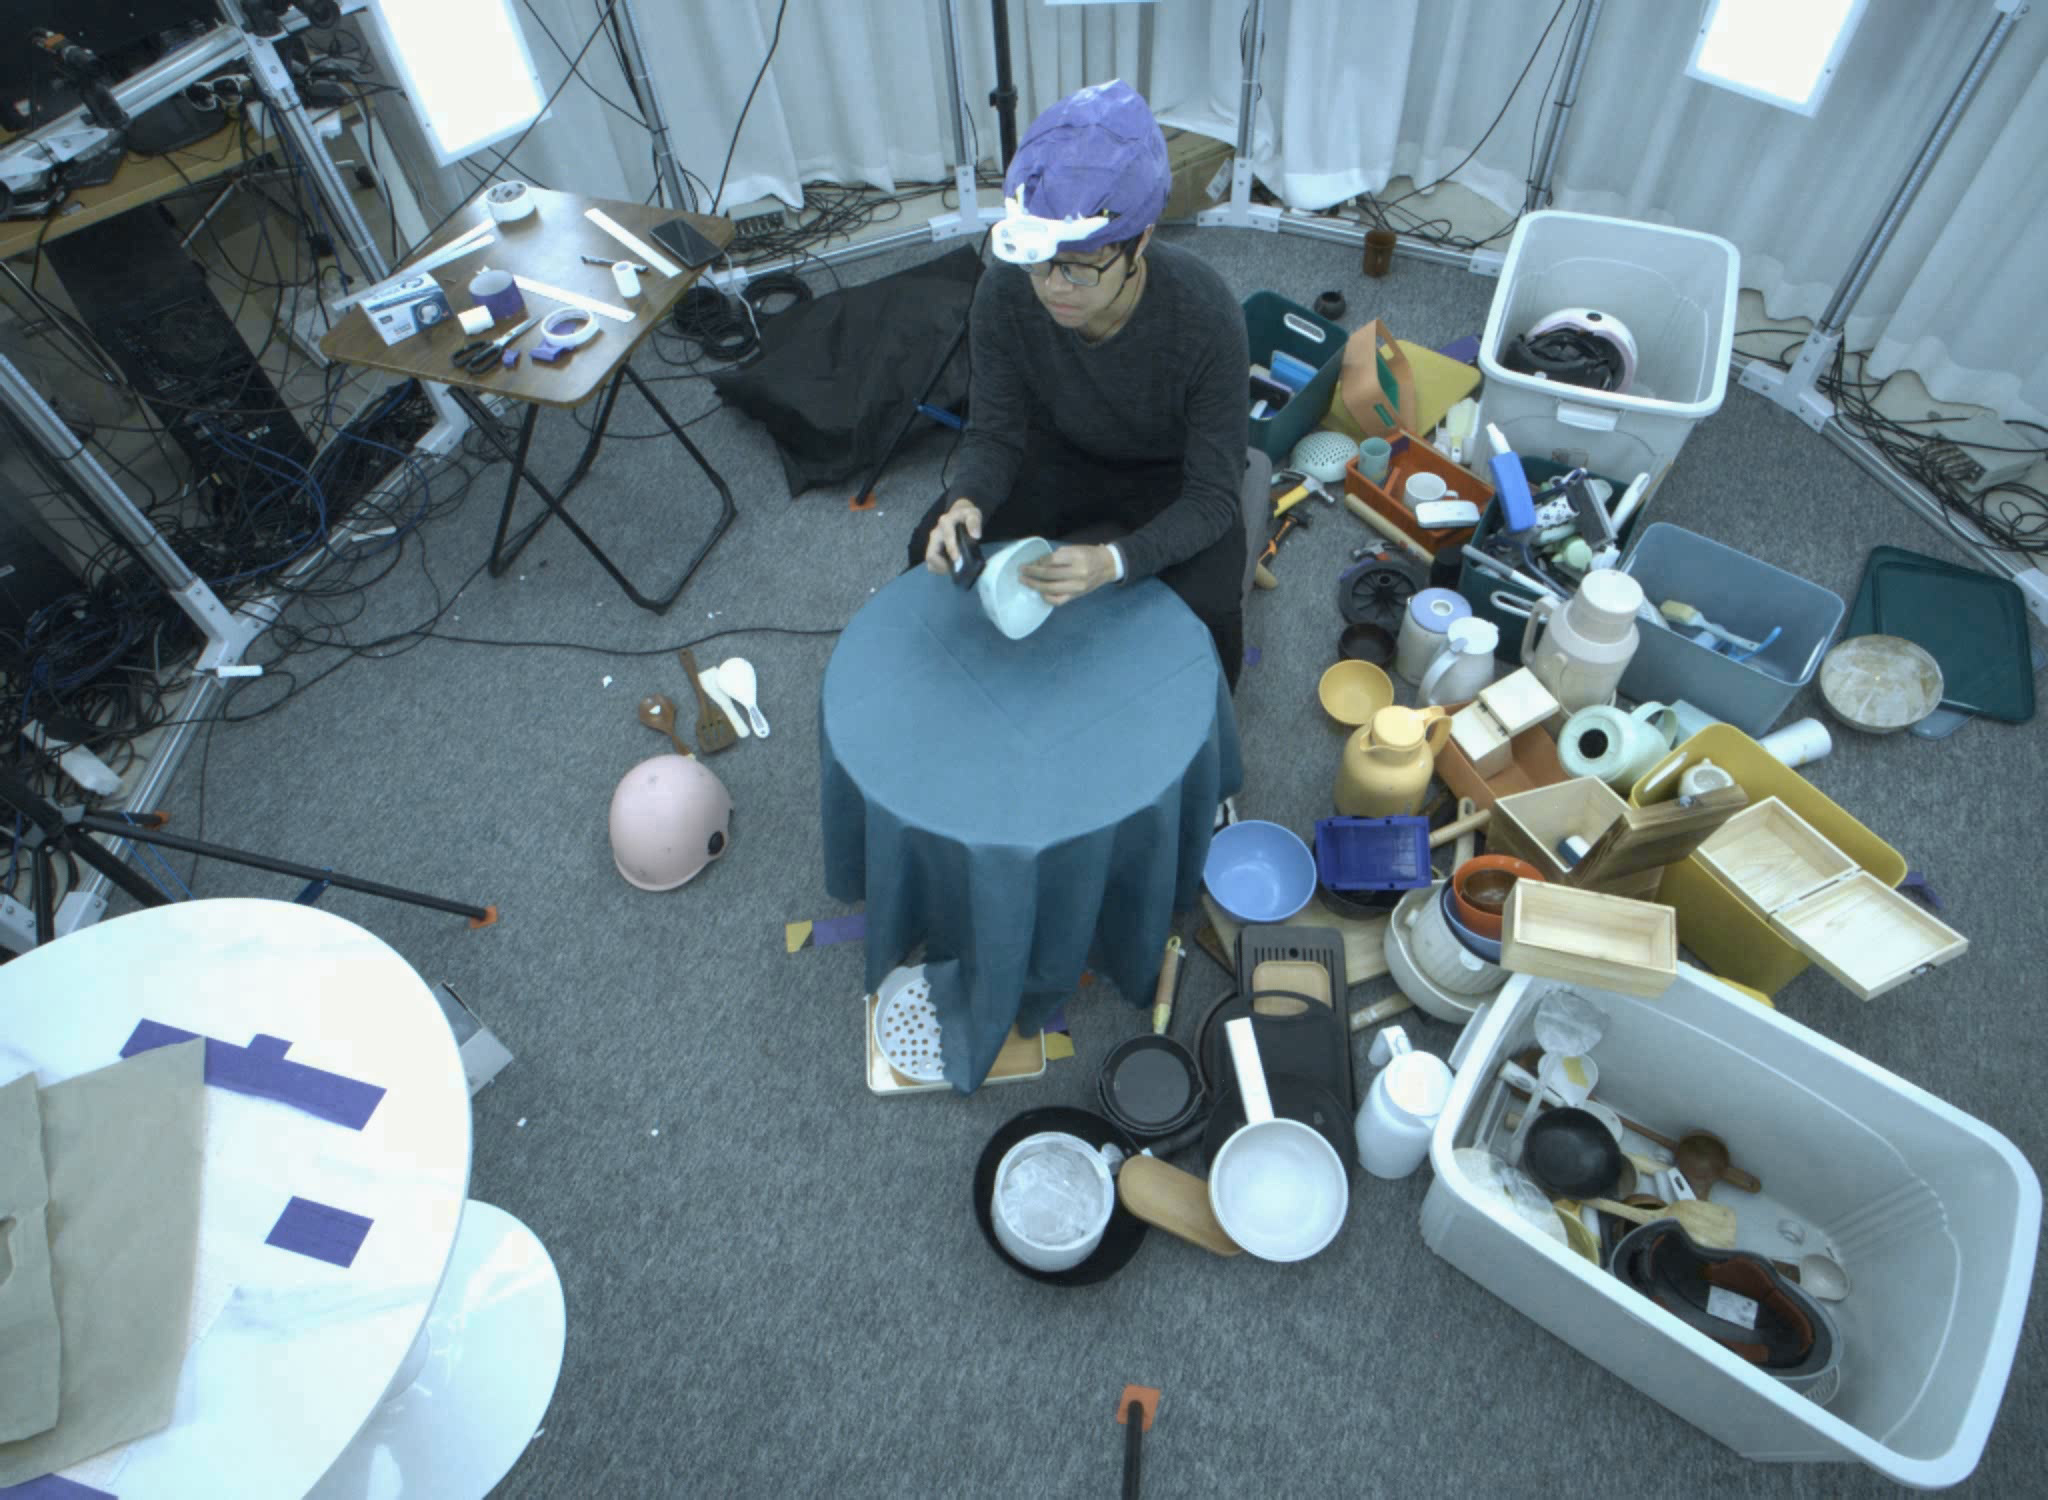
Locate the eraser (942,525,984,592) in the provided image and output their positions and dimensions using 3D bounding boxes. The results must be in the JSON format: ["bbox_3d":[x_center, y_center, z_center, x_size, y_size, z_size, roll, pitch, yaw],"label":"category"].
[{"bbox_3d":[-0.092,-0.285,1.807,0.031,0.053,0.123,25,25,-26],"label":"eraser"}]

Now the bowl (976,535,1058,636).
[{"bbox_3d":[-0.019,-0.246,1.798,0.057,0.154,0.152,22,58,37],"label":"bowl"}]
